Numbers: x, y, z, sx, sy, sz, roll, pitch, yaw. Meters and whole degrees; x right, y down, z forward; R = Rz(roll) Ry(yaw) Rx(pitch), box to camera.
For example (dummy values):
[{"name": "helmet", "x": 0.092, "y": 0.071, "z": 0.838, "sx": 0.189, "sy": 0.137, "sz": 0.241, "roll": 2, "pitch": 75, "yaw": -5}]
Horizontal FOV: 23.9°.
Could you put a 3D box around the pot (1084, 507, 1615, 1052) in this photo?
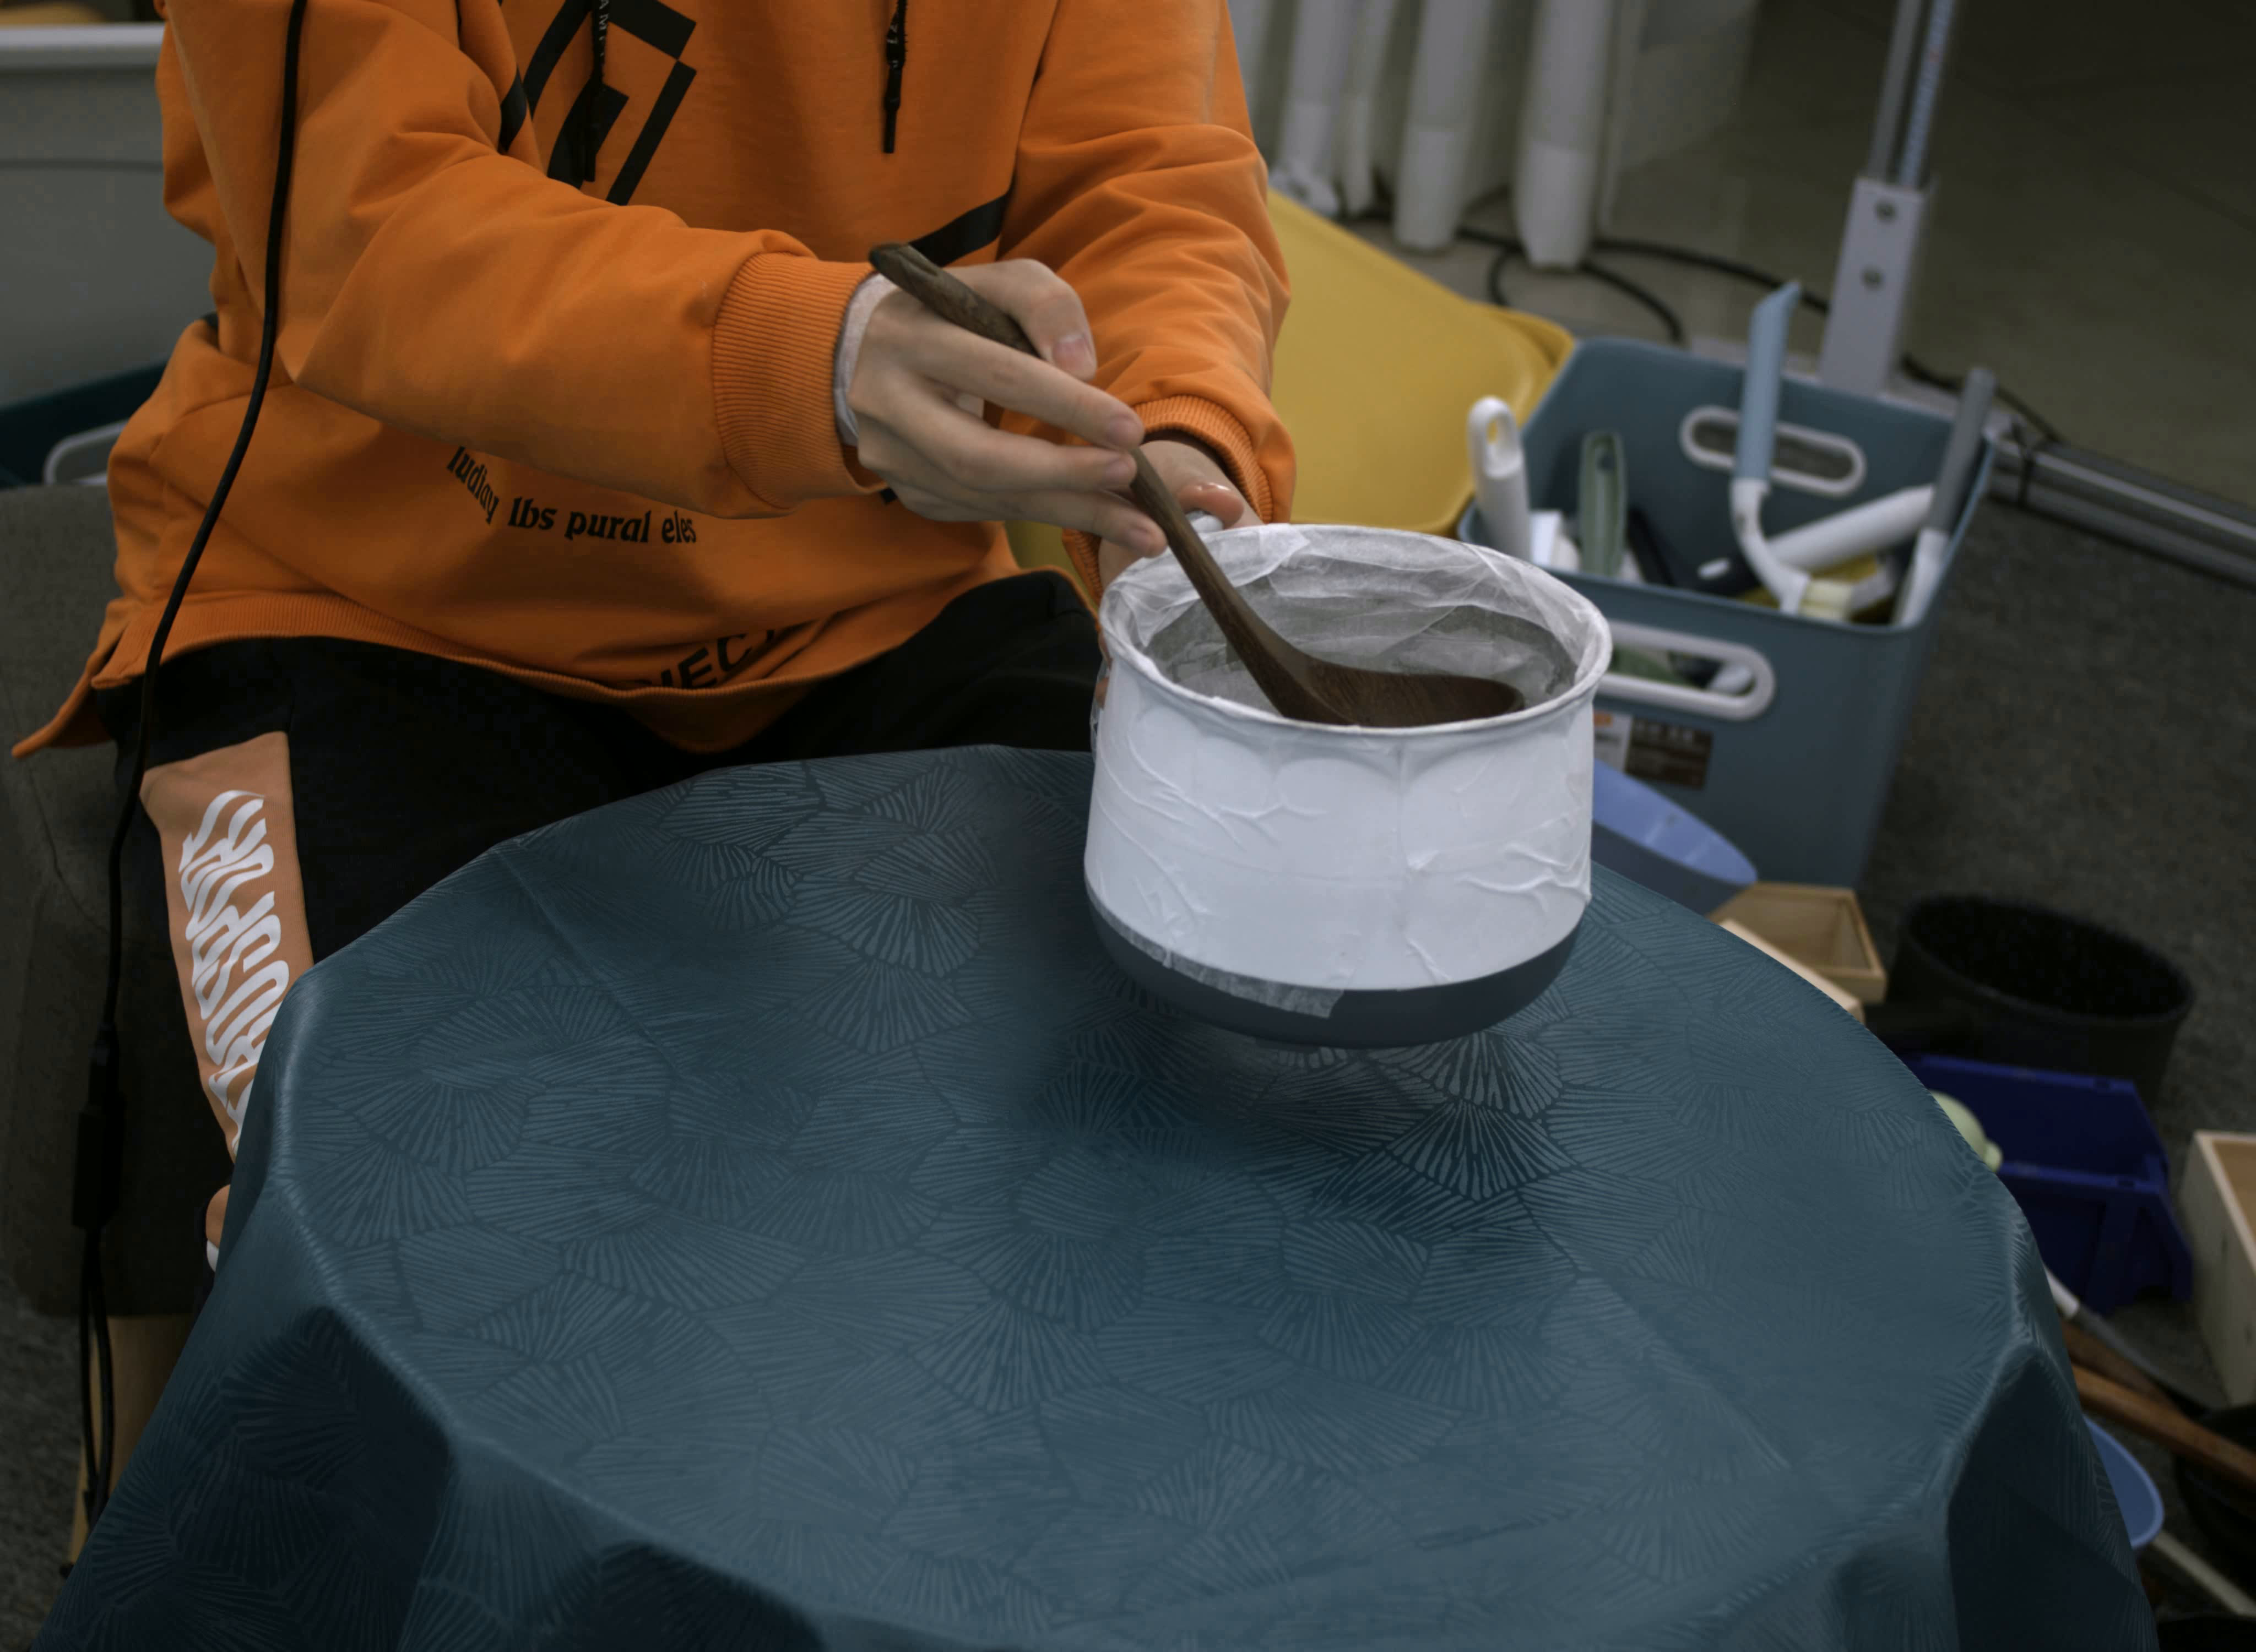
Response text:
[{"name": "pot", "x": 0.060, "y": -0.023, "z": 1.871, "sx": 0.177, "sy": 0.136, "sz": 0.236, "roll": -12, "pitch": 29, "yaw": -31}]

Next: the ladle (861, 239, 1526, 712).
[{"name": "ladle", "x": 0.026, "y": -0.118, "z": 1.813, "sx": 0.273, "sy": 0.071, "sz": 0.076, "roll": 48, "pitch": 9, "yaw": -8}]
